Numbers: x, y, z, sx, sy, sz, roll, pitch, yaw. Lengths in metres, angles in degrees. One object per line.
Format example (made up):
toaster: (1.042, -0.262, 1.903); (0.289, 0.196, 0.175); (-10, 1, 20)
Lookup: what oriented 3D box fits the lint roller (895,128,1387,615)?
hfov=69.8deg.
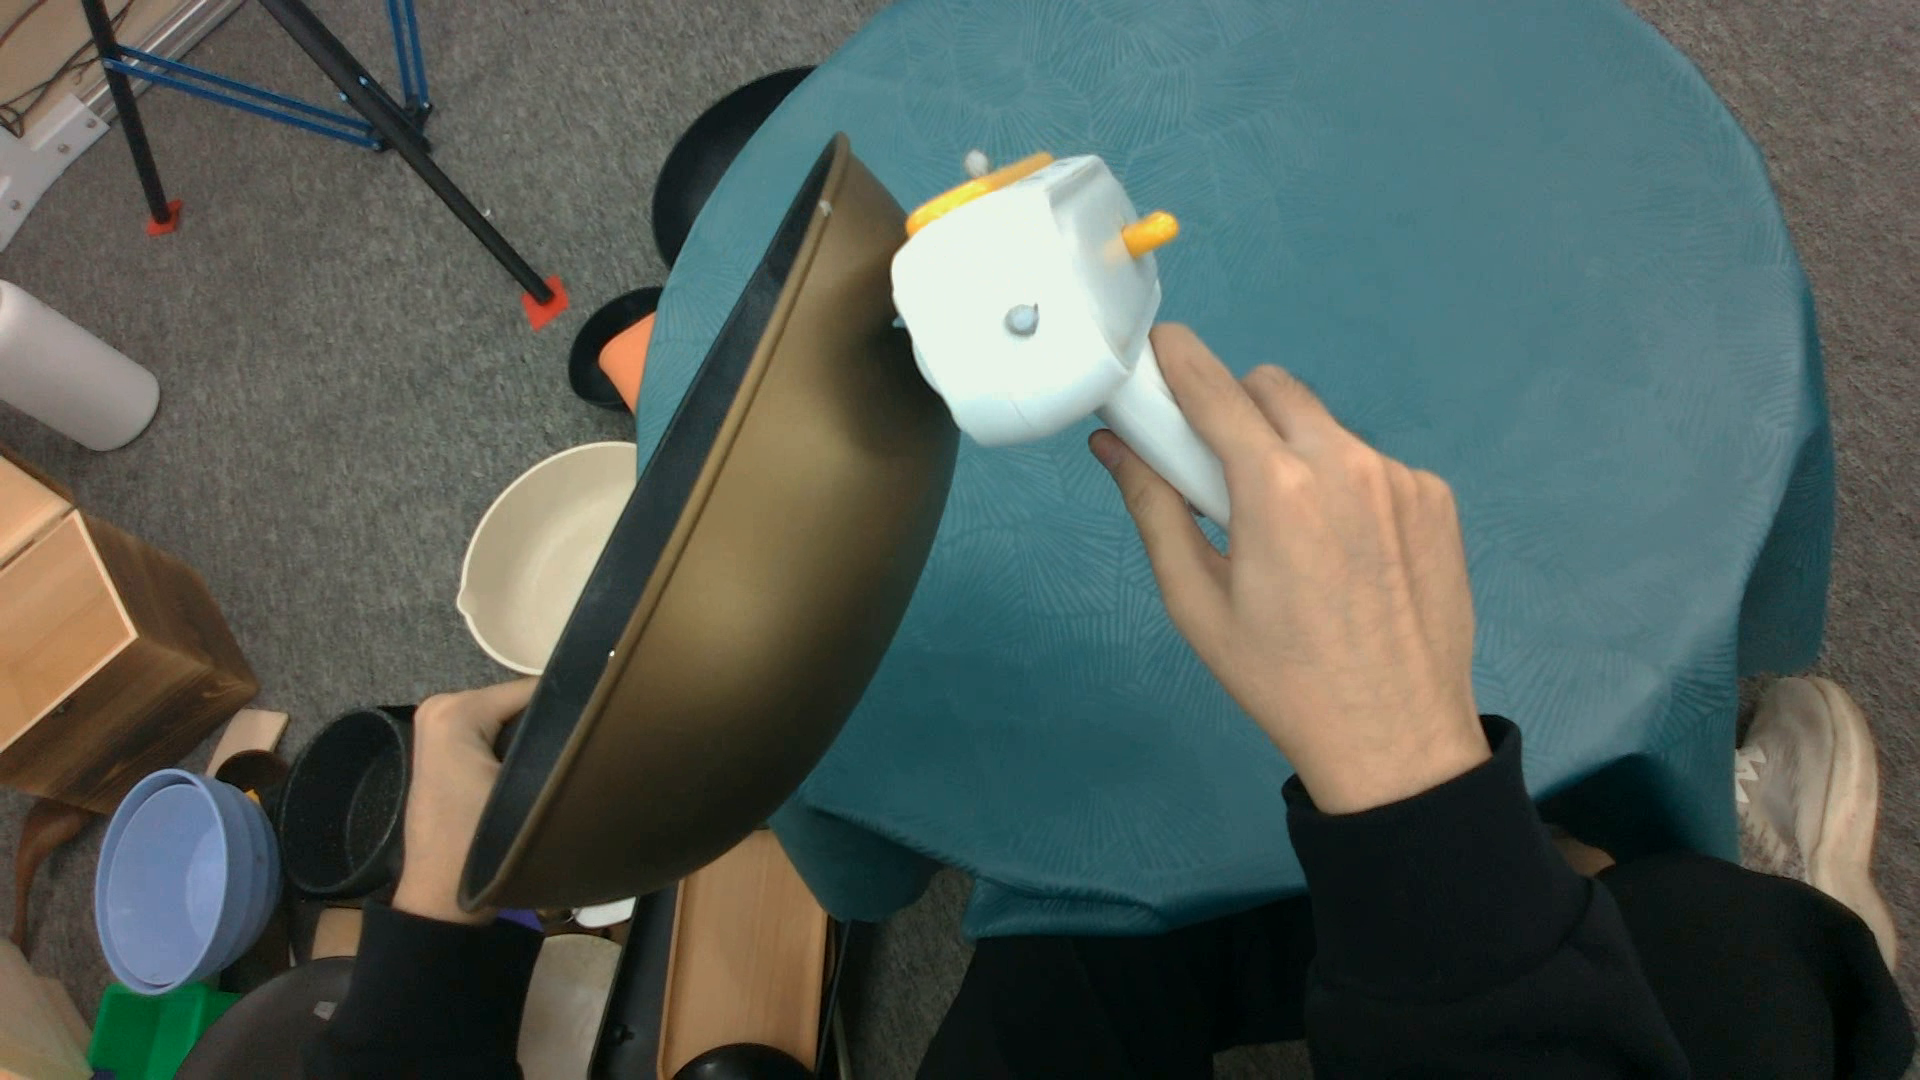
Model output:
lint roller: (0.062, -0.044, 0.437); (0.074, 0.193, 0.192); (-34, 103, 14)

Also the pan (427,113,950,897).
pan: (-0.123, 0.046, 0.541); (0.087, 0.461, 0.289); (26, 46, -17)
